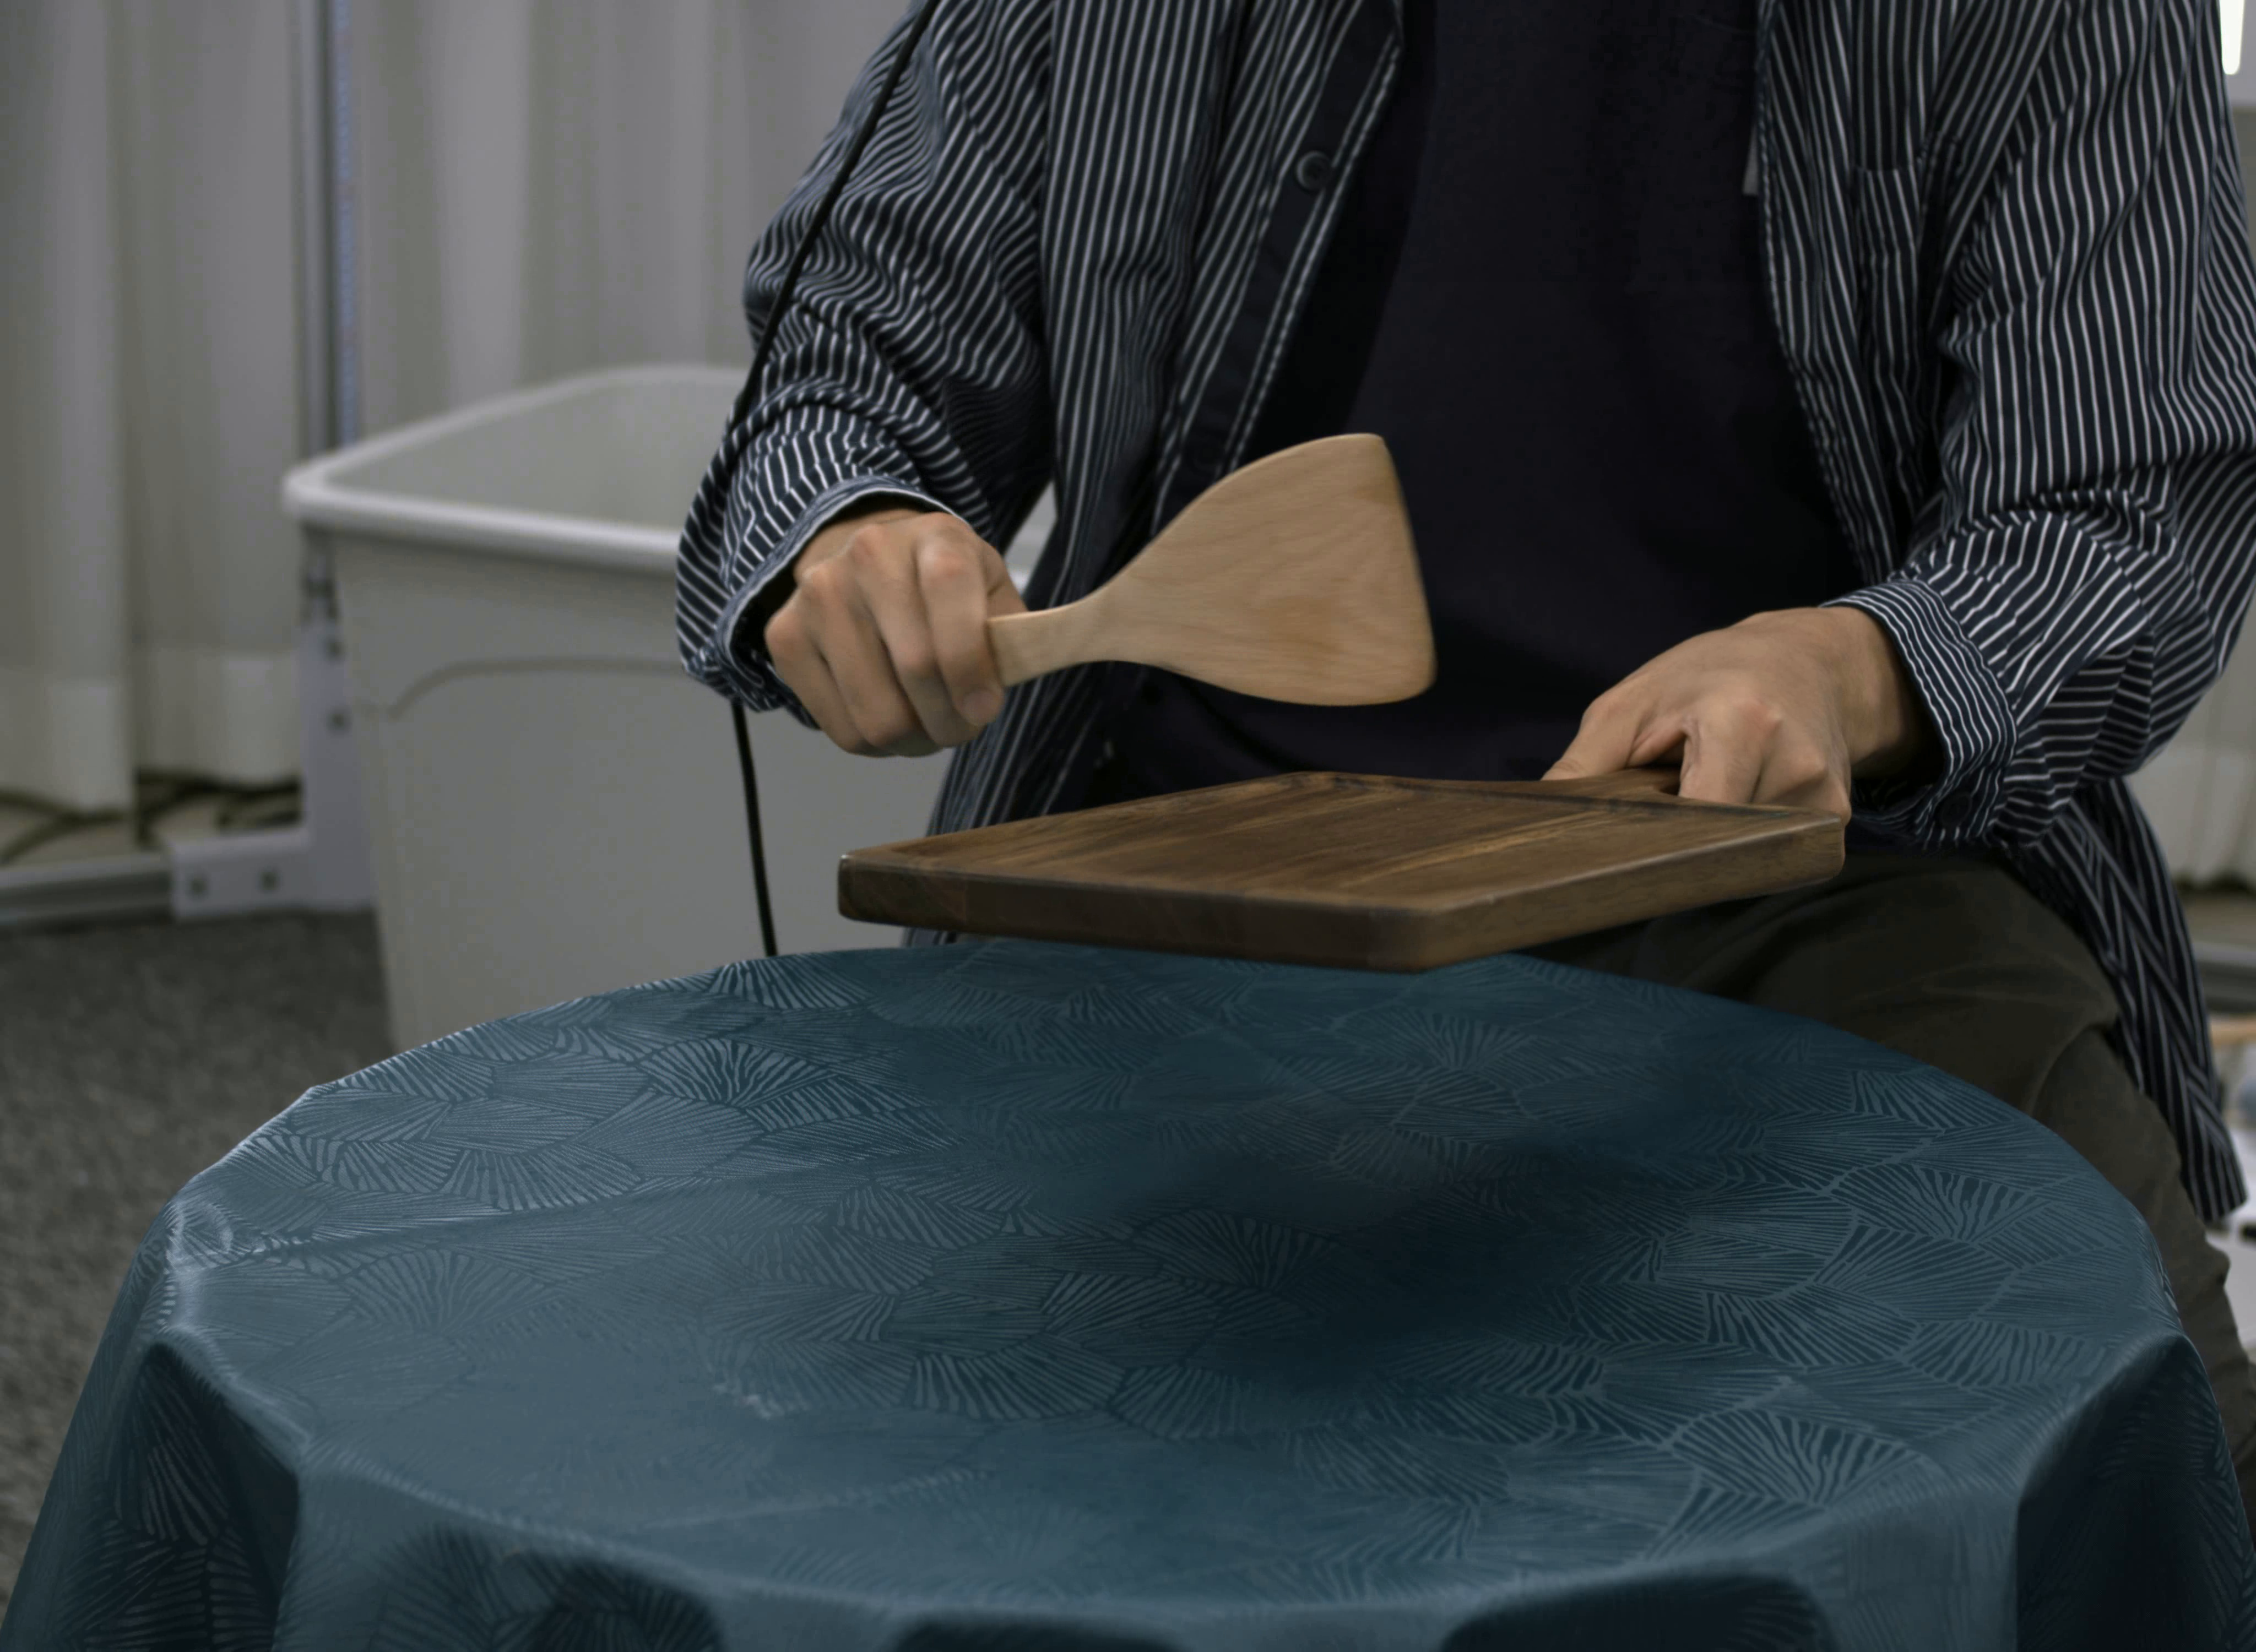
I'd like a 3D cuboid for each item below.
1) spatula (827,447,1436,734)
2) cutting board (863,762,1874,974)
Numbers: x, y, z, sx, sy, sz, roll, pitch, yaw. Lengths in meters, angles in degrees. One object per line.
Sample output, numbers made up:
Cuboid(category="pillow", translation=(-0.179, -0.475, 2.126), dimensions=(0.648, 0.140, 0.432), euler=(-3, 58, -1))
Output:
Cuboid(category="spatula", translation=(-0.007, -0.057, 1.628), dimensions=(0.016, 0.080, 0.325), euler=(-24, 8, -32))
Cuboid(category="cutting board", translation=(0.103, 0.007, 1.563), dimensions=(0.198, 0.023, 0.354), euler=(5, 8, 35))
